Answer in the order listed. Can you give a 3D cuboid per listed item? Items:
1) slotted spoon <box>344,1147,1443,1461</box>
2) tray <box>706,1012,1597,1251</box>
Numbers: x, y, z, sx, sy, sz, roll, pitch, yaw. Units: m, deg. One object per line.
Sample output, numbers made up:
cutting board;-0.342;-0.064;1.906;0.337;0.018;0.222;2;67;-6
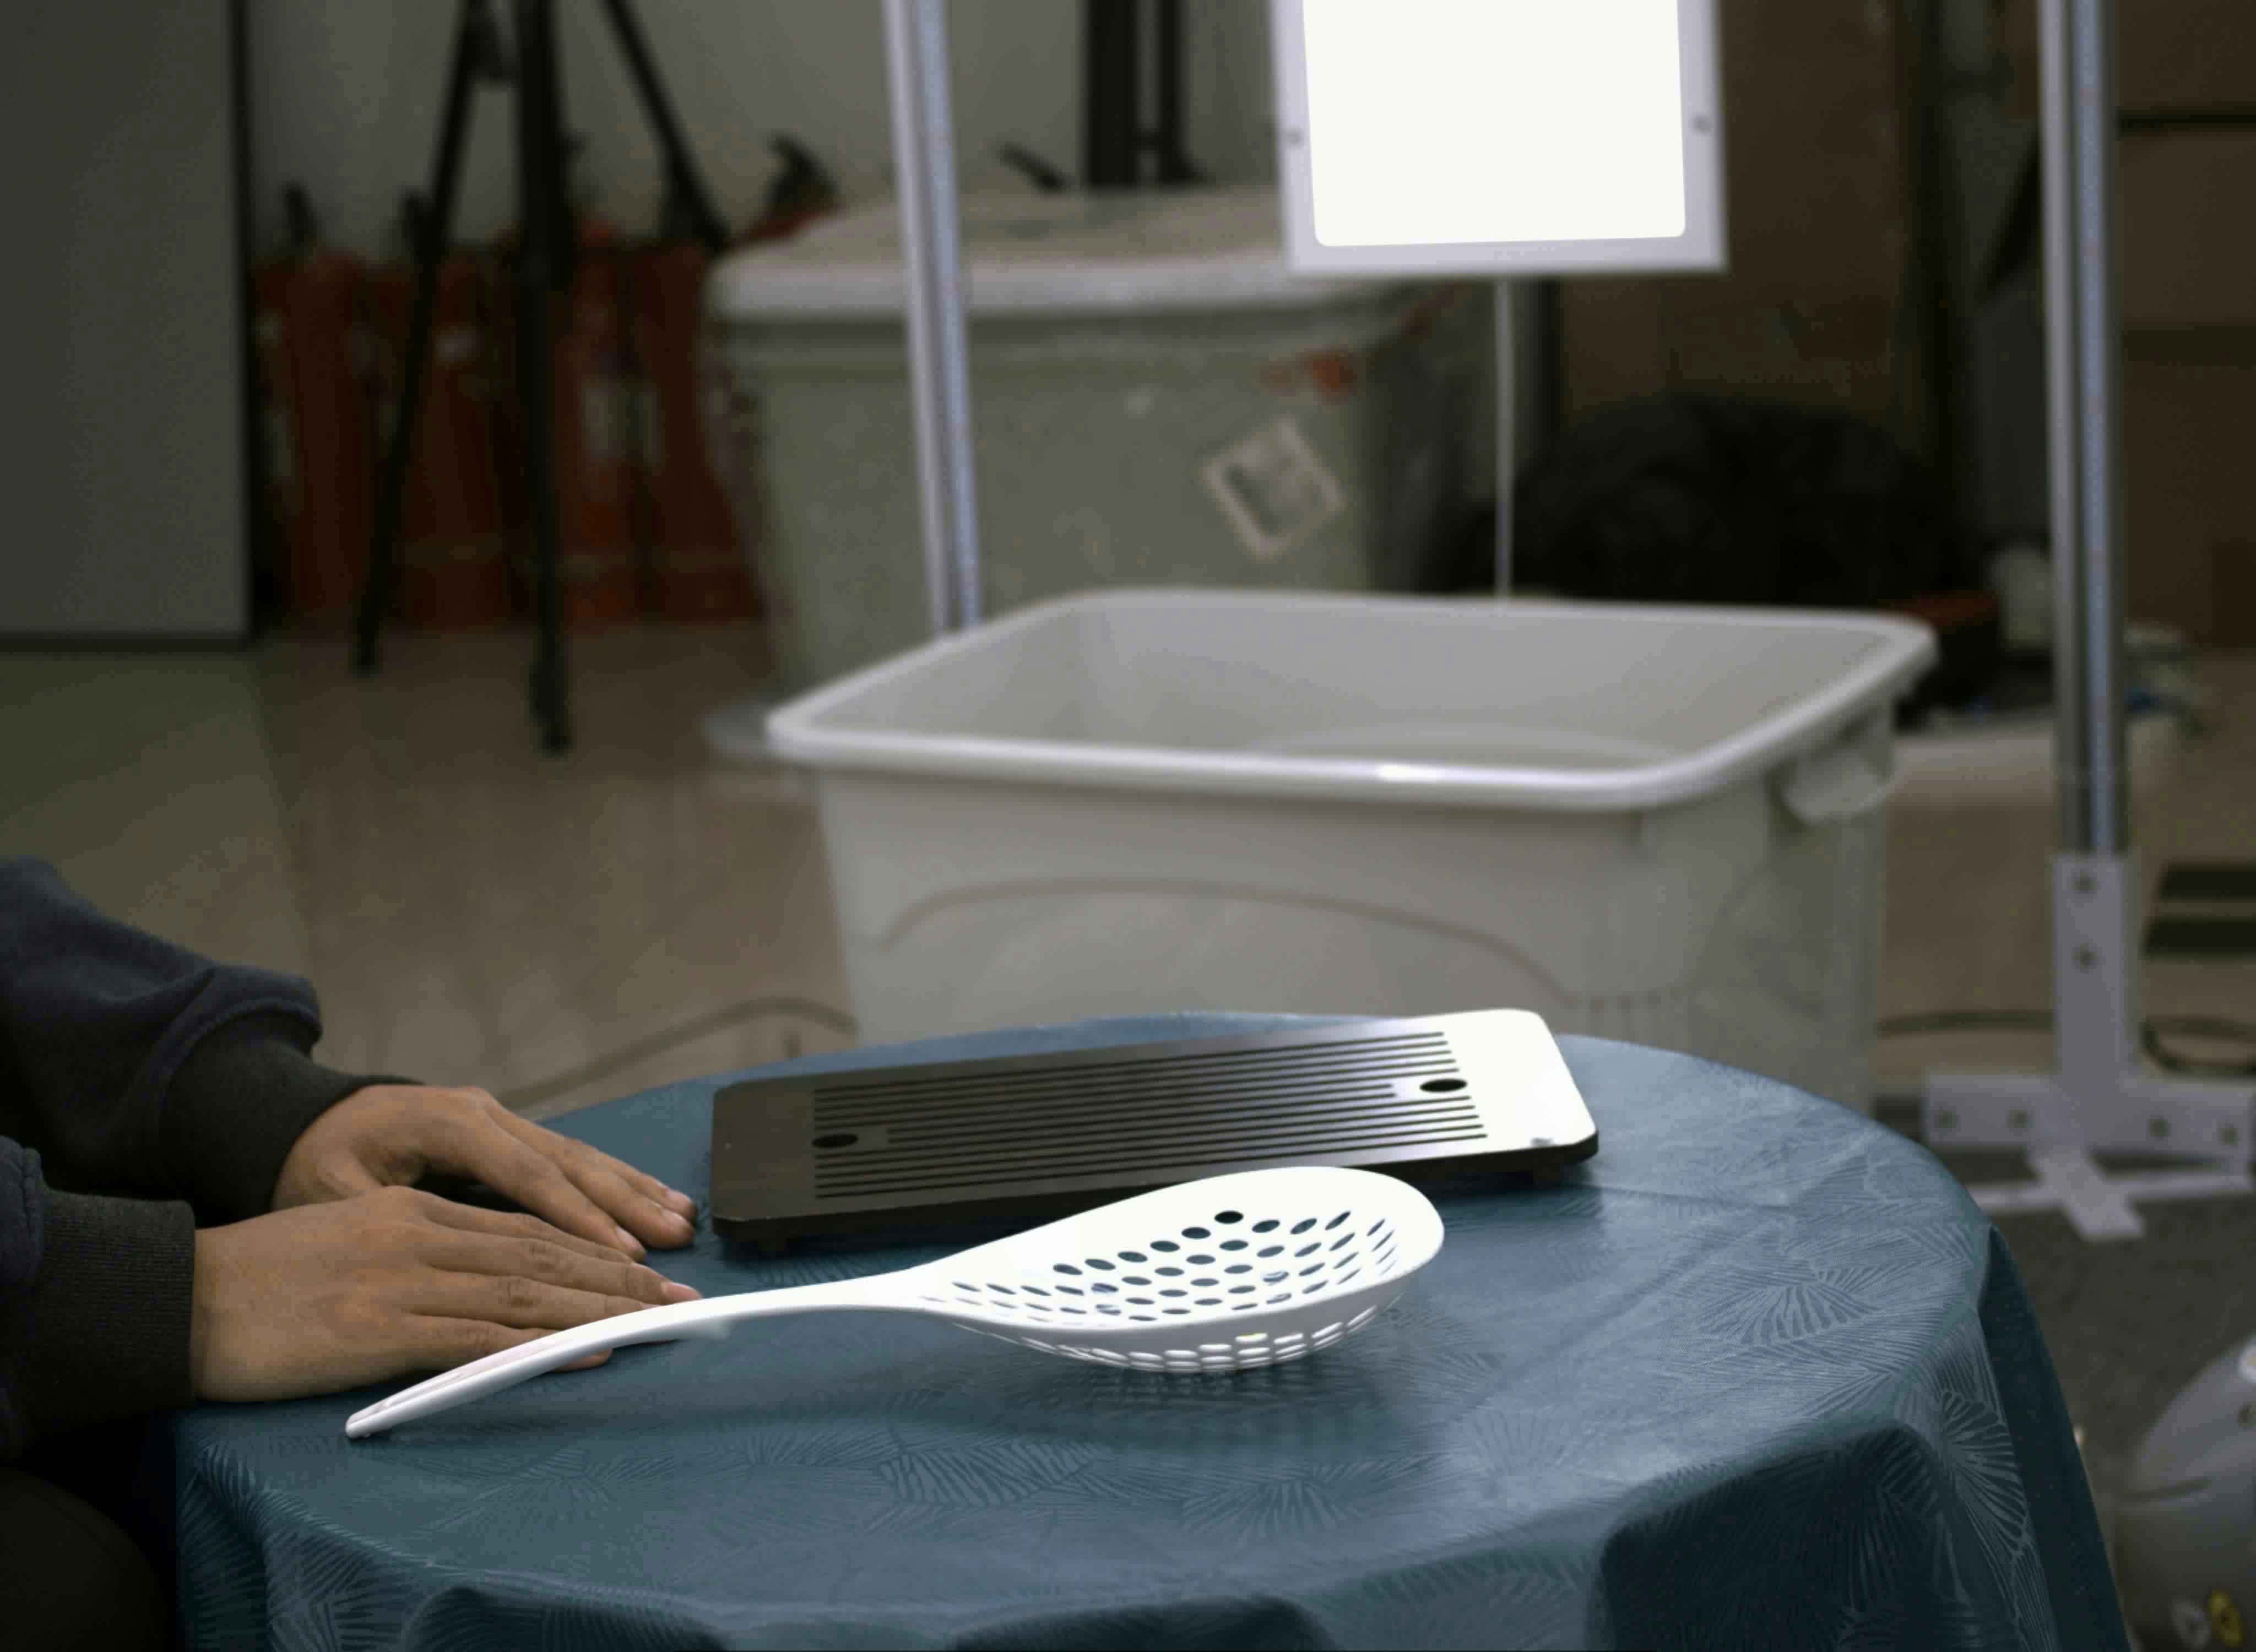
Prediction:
slotted spoon;-0.073;0.155;1.719;0.347;0.050;0.137;-5;16;-1
tray;0.005;0.107;1.938;0.305;0.019;0.170;-5;14;0
